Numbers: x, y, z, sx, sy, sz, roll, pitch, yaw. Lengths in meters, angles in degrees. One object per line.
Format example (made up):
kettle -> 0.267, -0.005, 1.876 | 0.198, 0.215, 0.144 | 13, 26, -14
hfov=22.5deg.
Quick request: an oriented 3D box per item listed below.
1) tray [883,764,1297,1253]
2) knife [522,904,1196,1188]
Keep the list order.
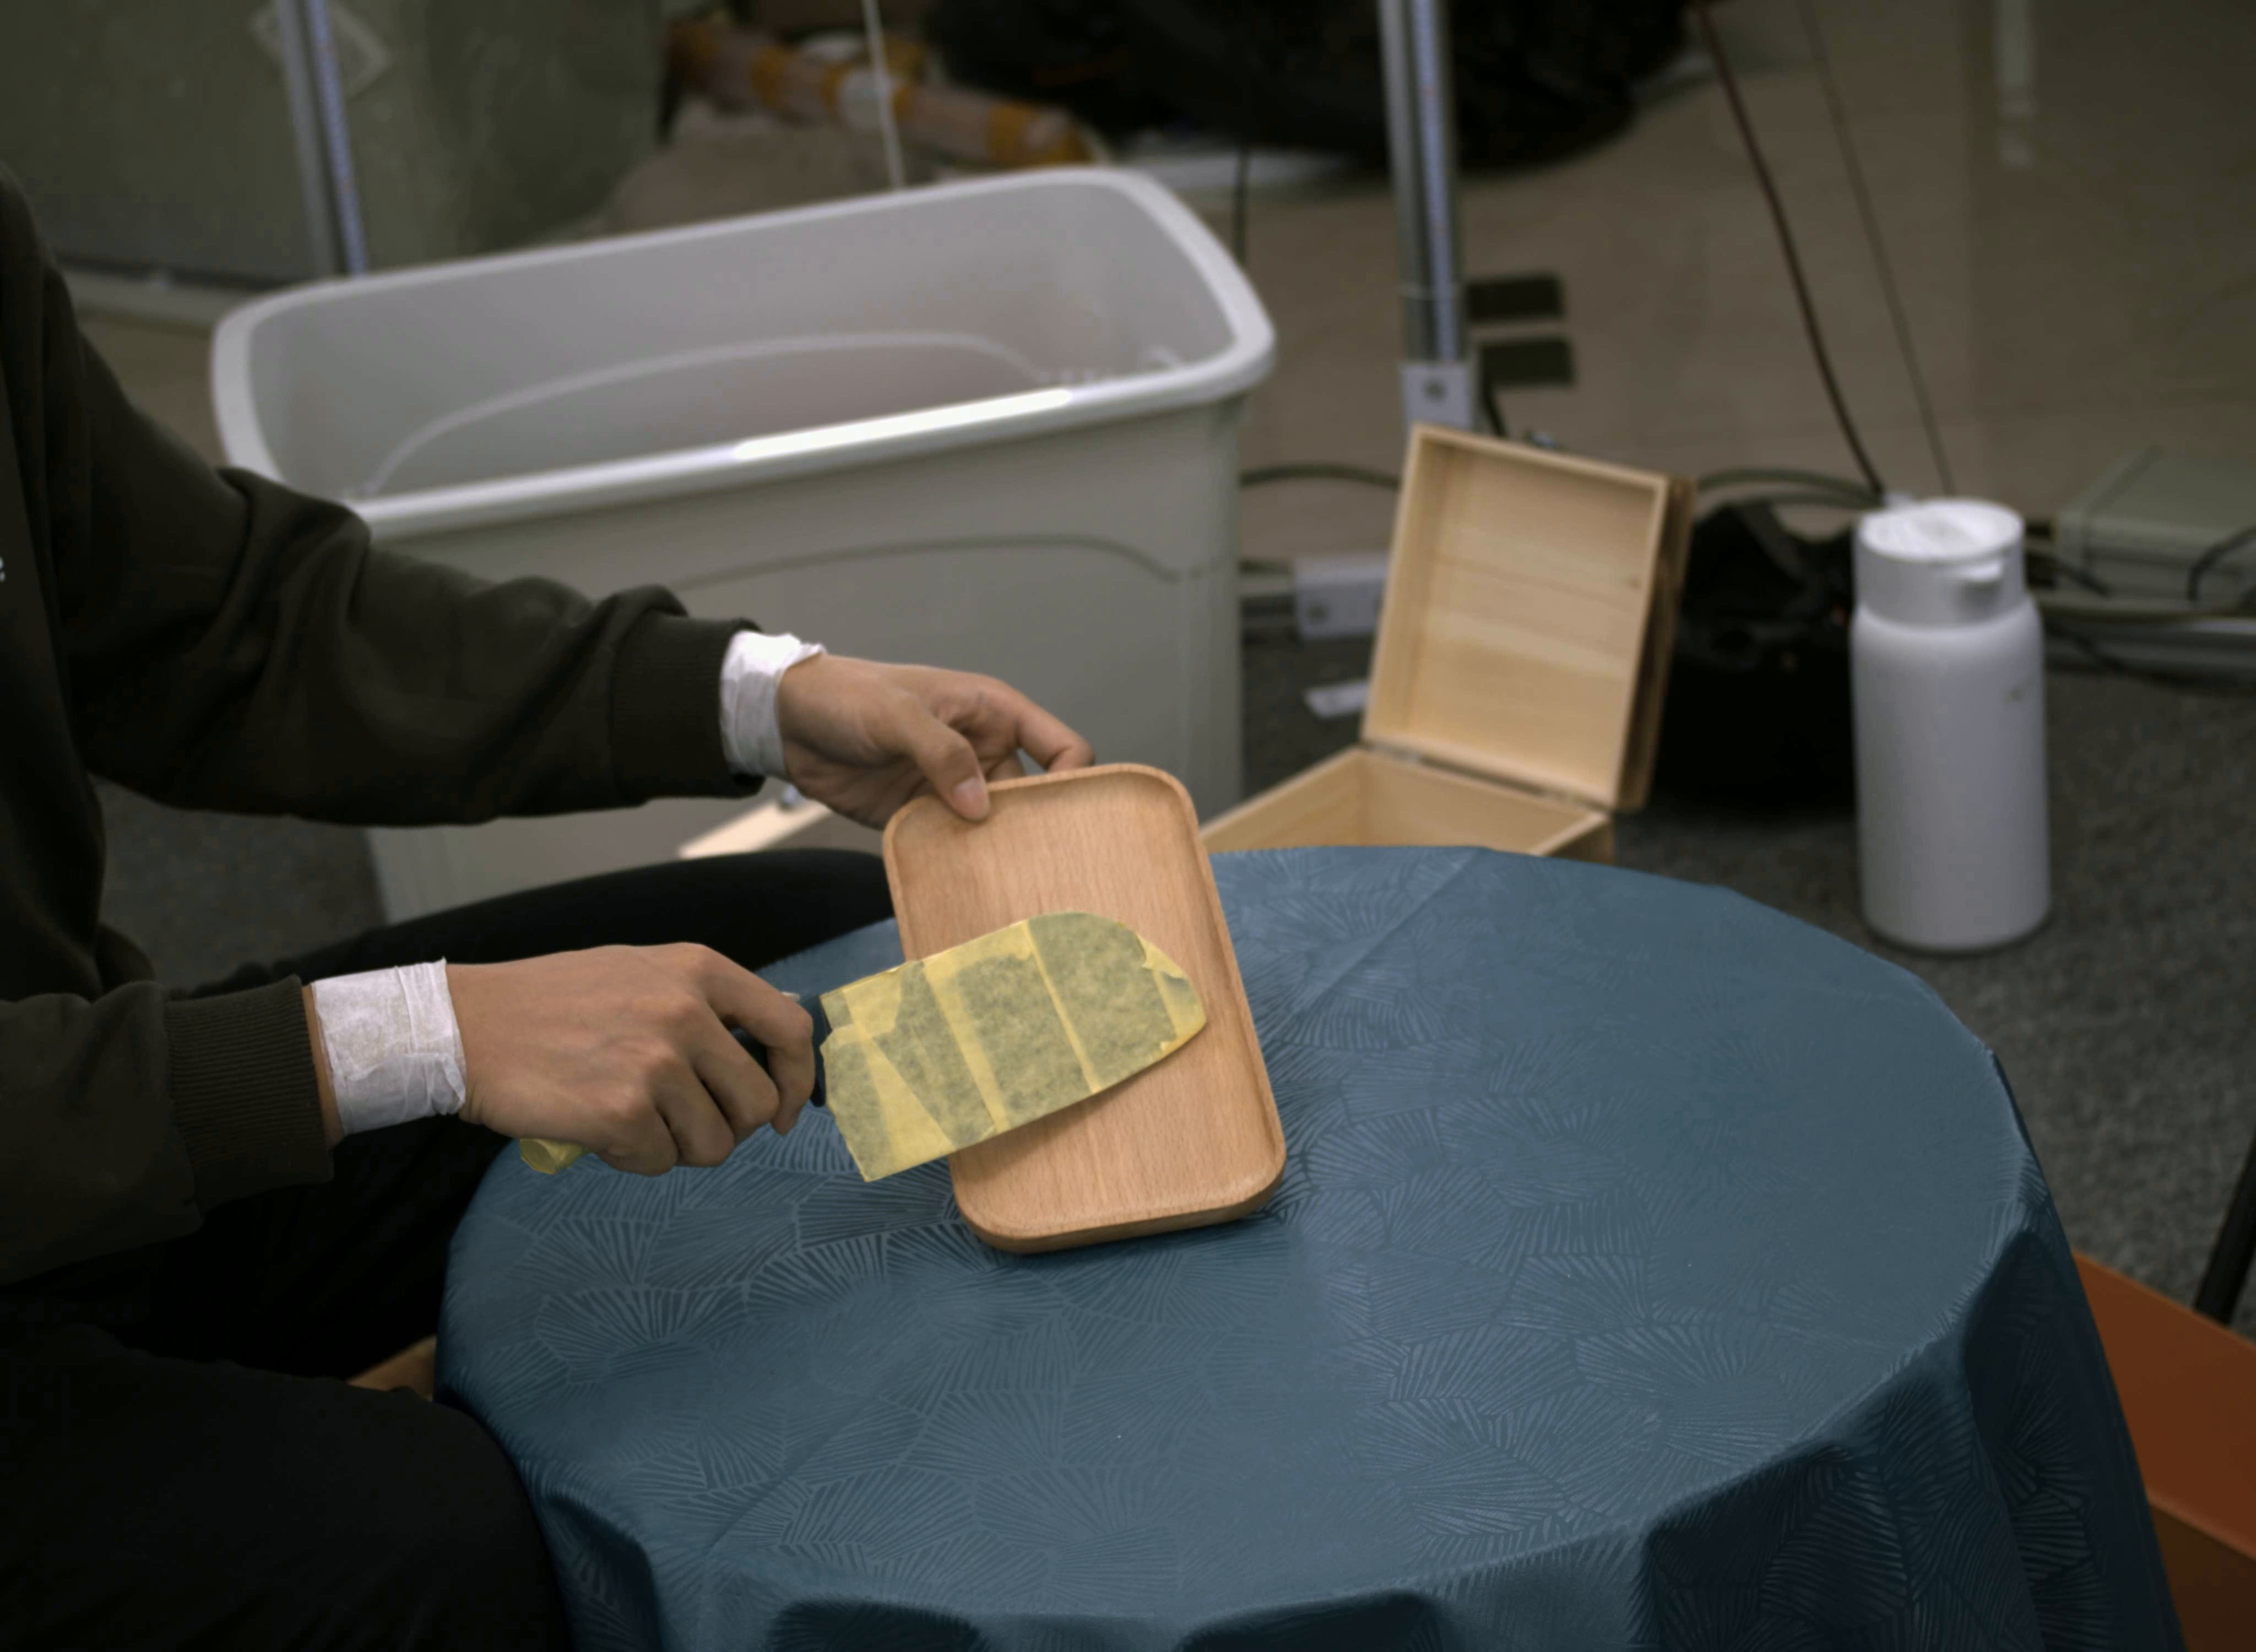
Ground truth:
tray -> -0.017, 0.068, 2.197 | 0.130, 0.023, 0.246 | -11, 45, -3
knife -> -0.094, 0.092, 2.115 | 0.288, 0.080, 0.027 | -17, -10, -29
